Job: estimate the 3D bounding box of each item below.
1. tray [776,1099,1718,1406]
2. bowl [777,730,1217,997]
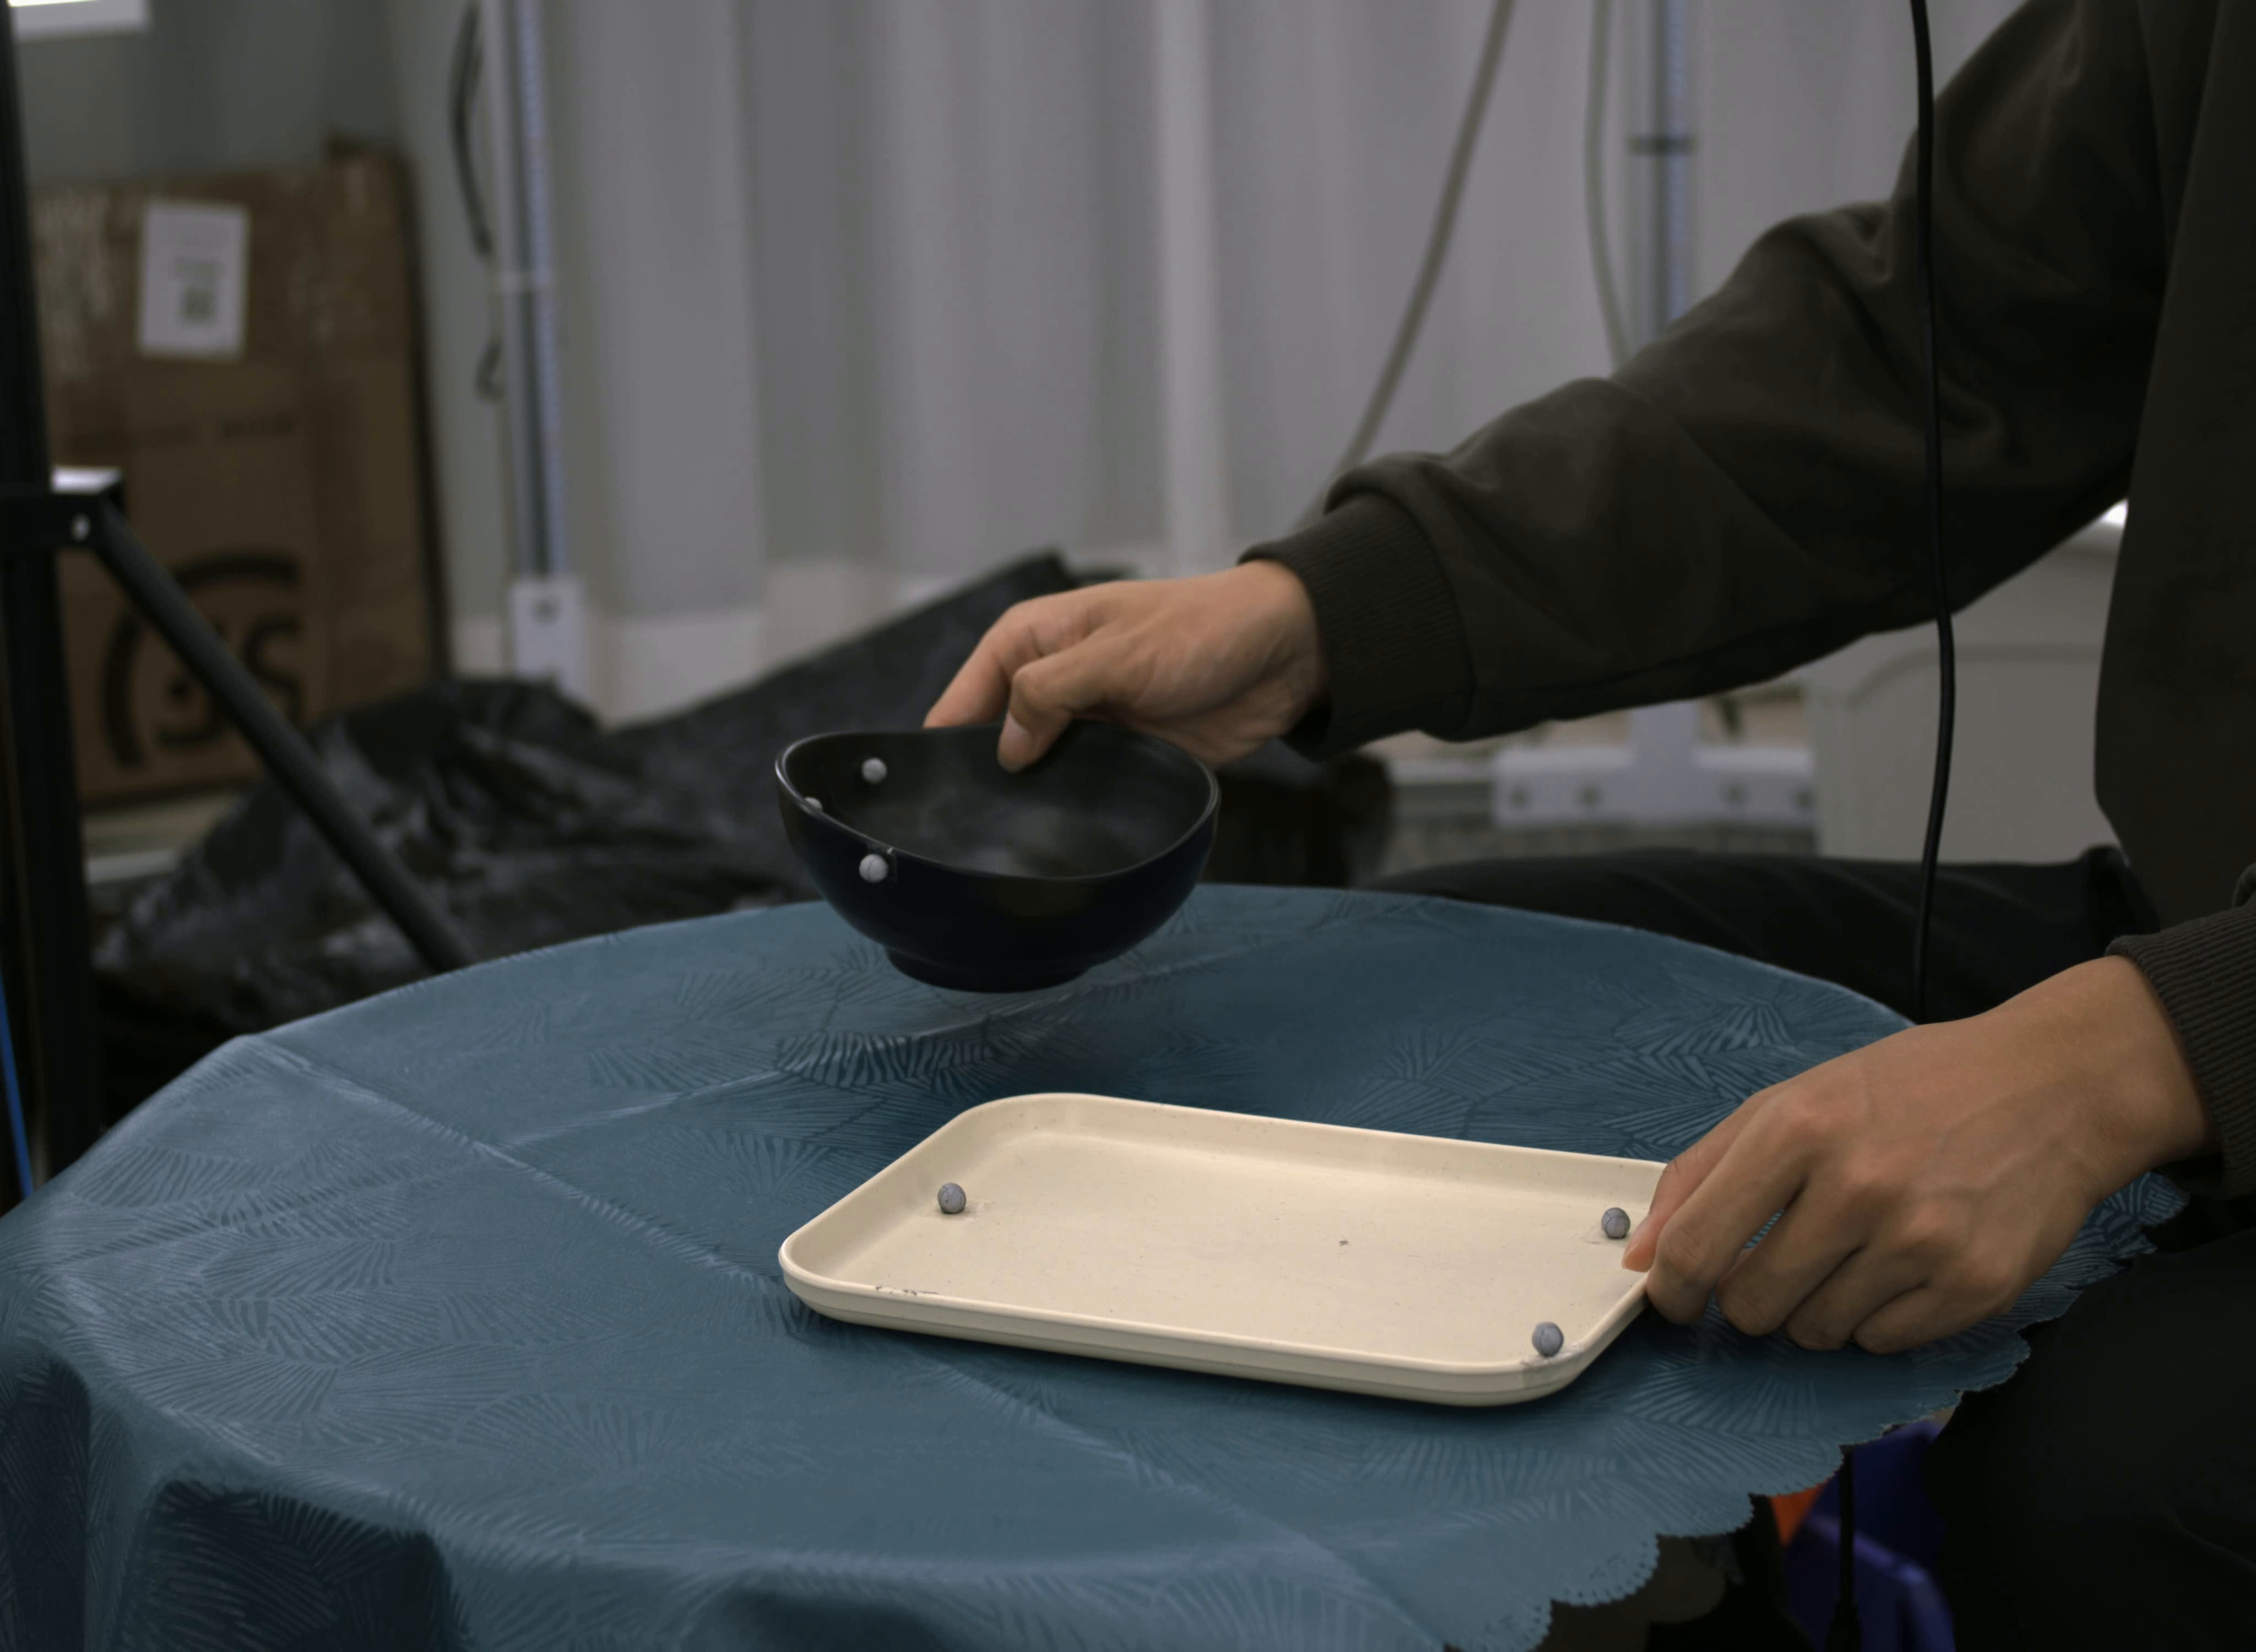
[{"bbox_3d":[0.035,0.119,1.487,0.243,0.017,0.168,5,17,25],"label":"tray"},{"bbox_3d":[-0.044,0.014,1.687,0.135,0.067,0.173,-3,18,-17],"label":"bowl"}]
